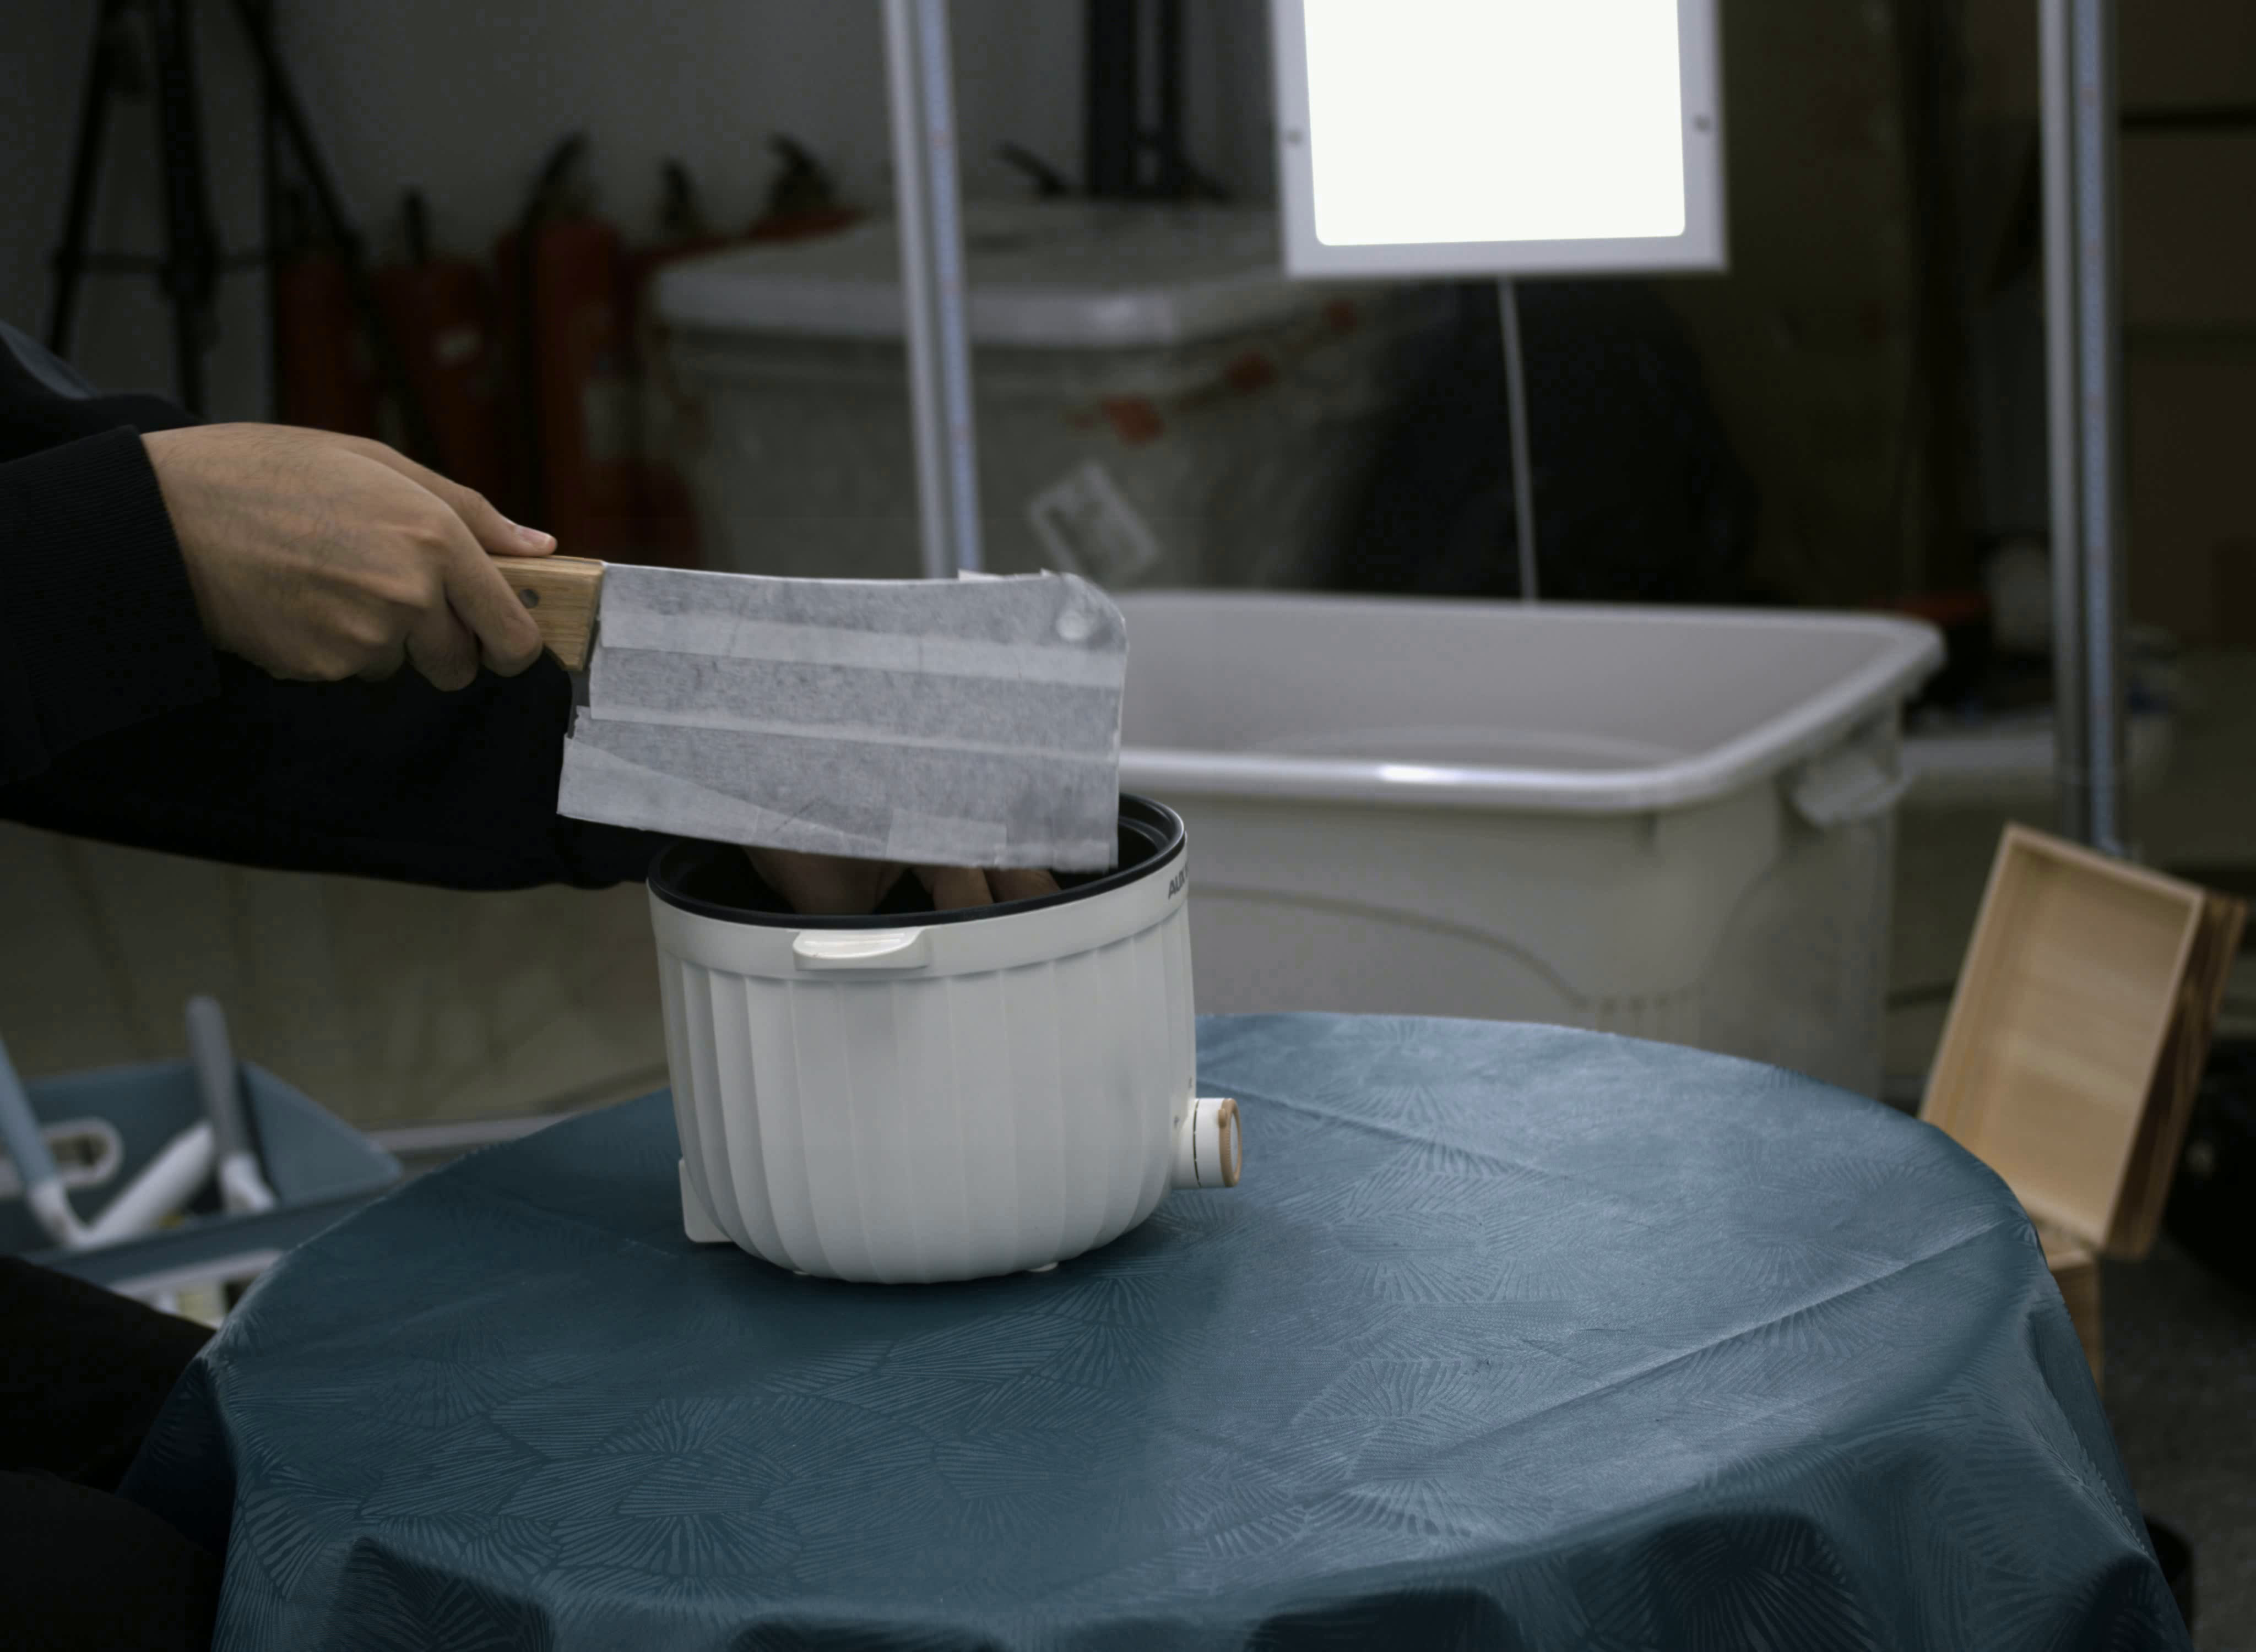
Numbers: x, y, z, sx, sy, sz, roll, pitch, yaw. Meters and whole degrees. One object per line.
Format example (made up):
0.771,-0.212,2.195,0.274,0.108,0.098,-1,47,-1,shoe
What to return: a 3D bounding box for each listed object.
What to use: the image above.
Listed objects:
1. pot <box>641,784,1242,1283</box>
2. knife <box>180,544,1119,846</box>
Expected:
-0.061,0.070,1.857,0.192,0.143,0.238,-5,15,12,pot
-0.151,-0.053,1.796,0.313,0.114,0.022,8,12,-6,knife
